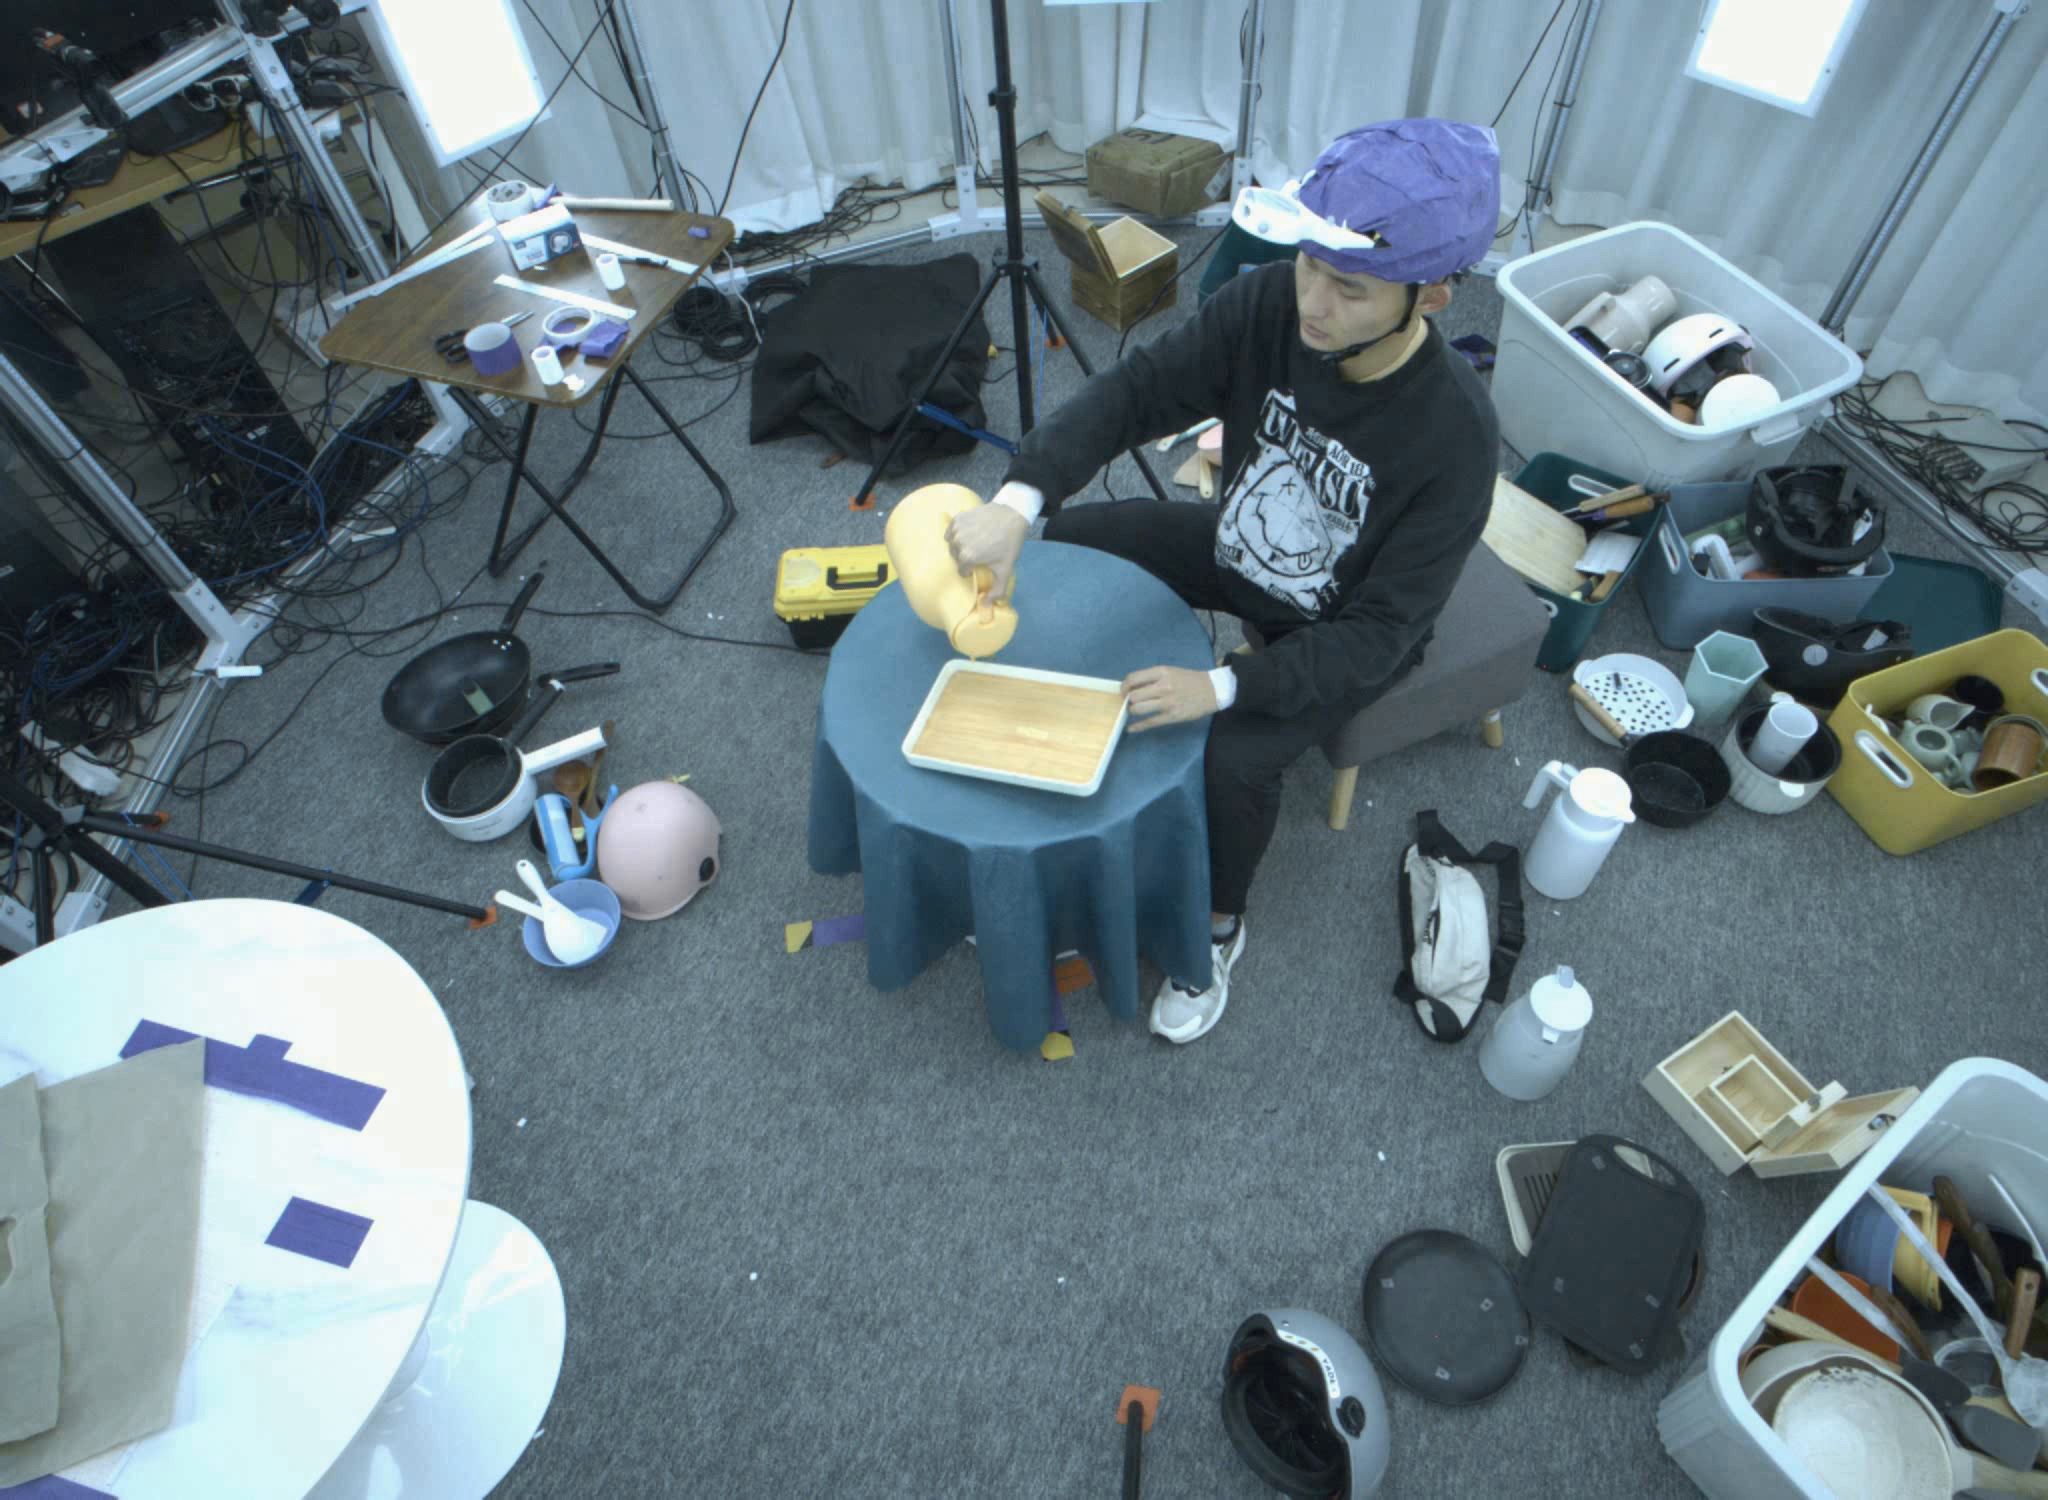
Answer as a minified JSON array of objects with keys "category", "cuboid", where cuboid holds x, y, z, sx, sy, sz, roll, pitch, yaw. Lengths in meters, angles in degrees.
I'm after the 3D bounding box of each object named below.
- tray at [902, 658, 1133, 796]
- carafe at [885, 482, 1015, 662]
[{"category":"tray","cuboid":[-0.009,-0.037,1.764,0.296,0.028,0.191,10,56,20]},{"category":"carafe","cuboid":[-0.093,-0.267,1.746,0.165,0.203,0.256,-13,57,-19]}]
